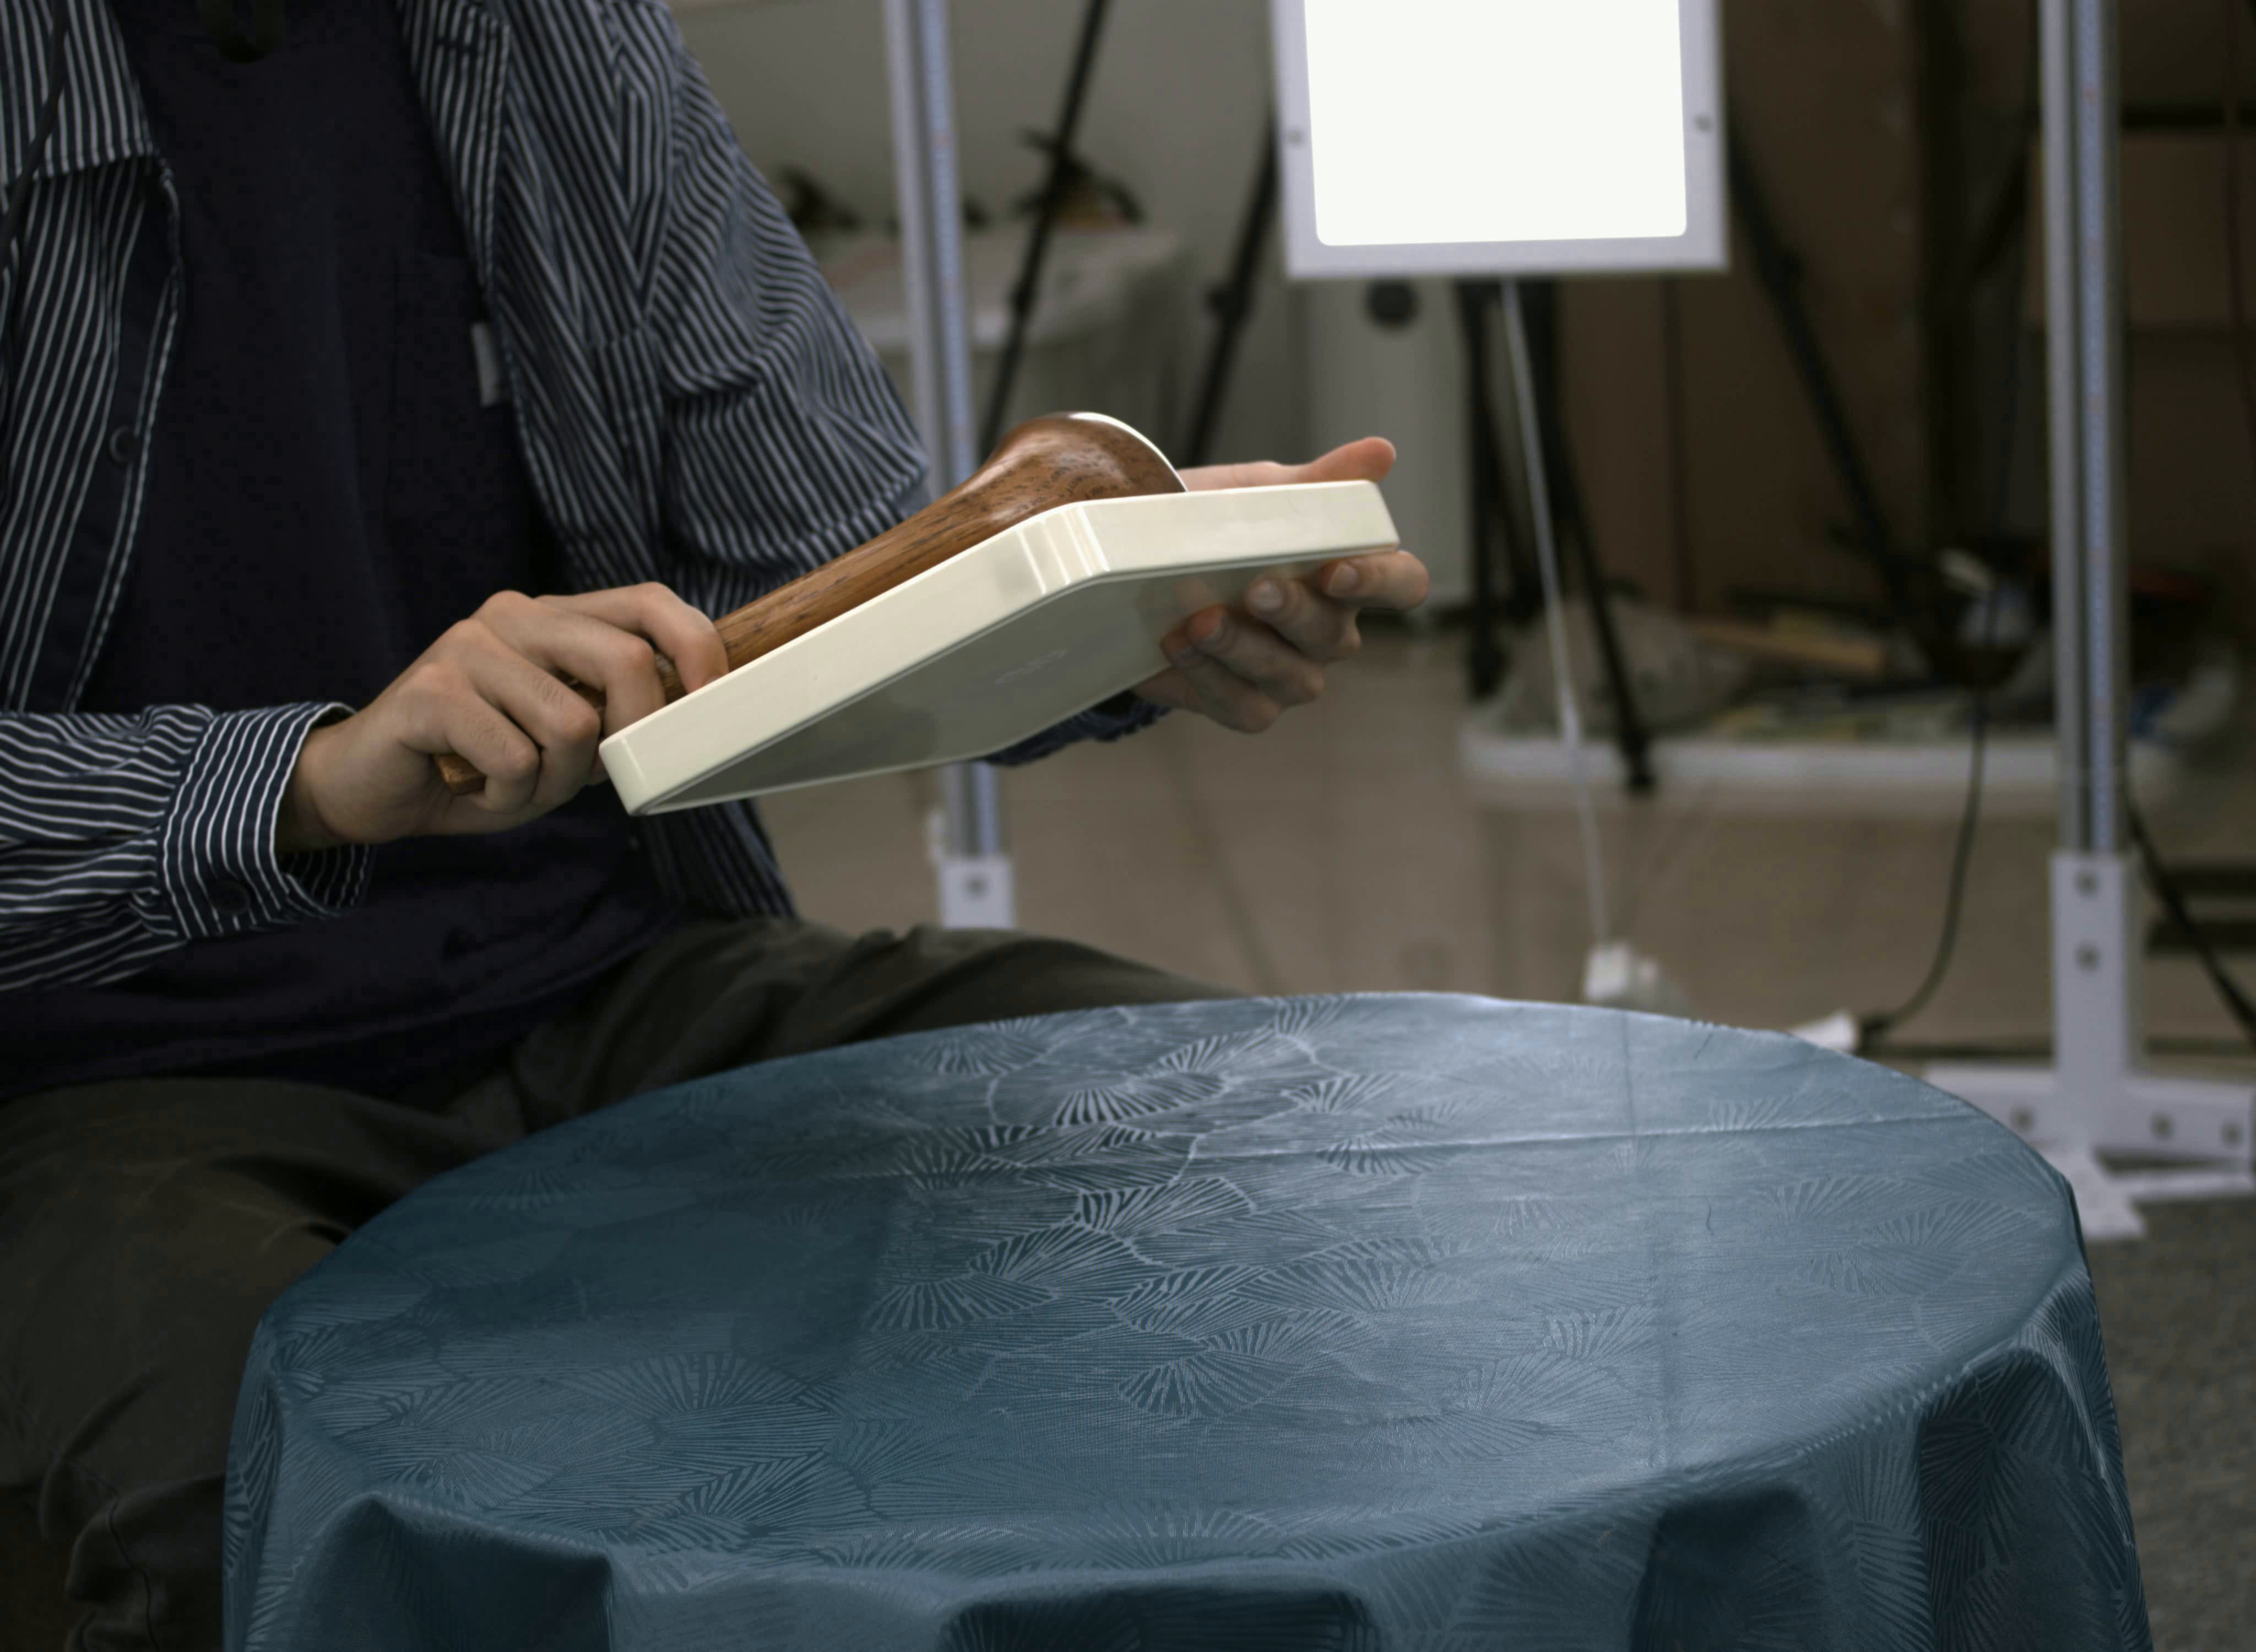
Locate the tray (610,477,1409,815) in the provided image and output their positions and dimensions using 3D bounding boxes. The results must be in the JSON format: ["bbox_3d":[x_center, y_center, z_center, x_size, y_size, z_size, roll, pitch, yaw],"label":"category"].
[{"bbox_3d":[-0.033,-0.063,1.883,0.195,0.027,0.294,-26,-6,25],"label":"tray"}]

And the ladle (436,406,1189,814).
[{"bbox_3d":[-0.105,-0.063,1.886,0.273,0.076,0.082,-28,57,-1],"label":"ladle"}]
